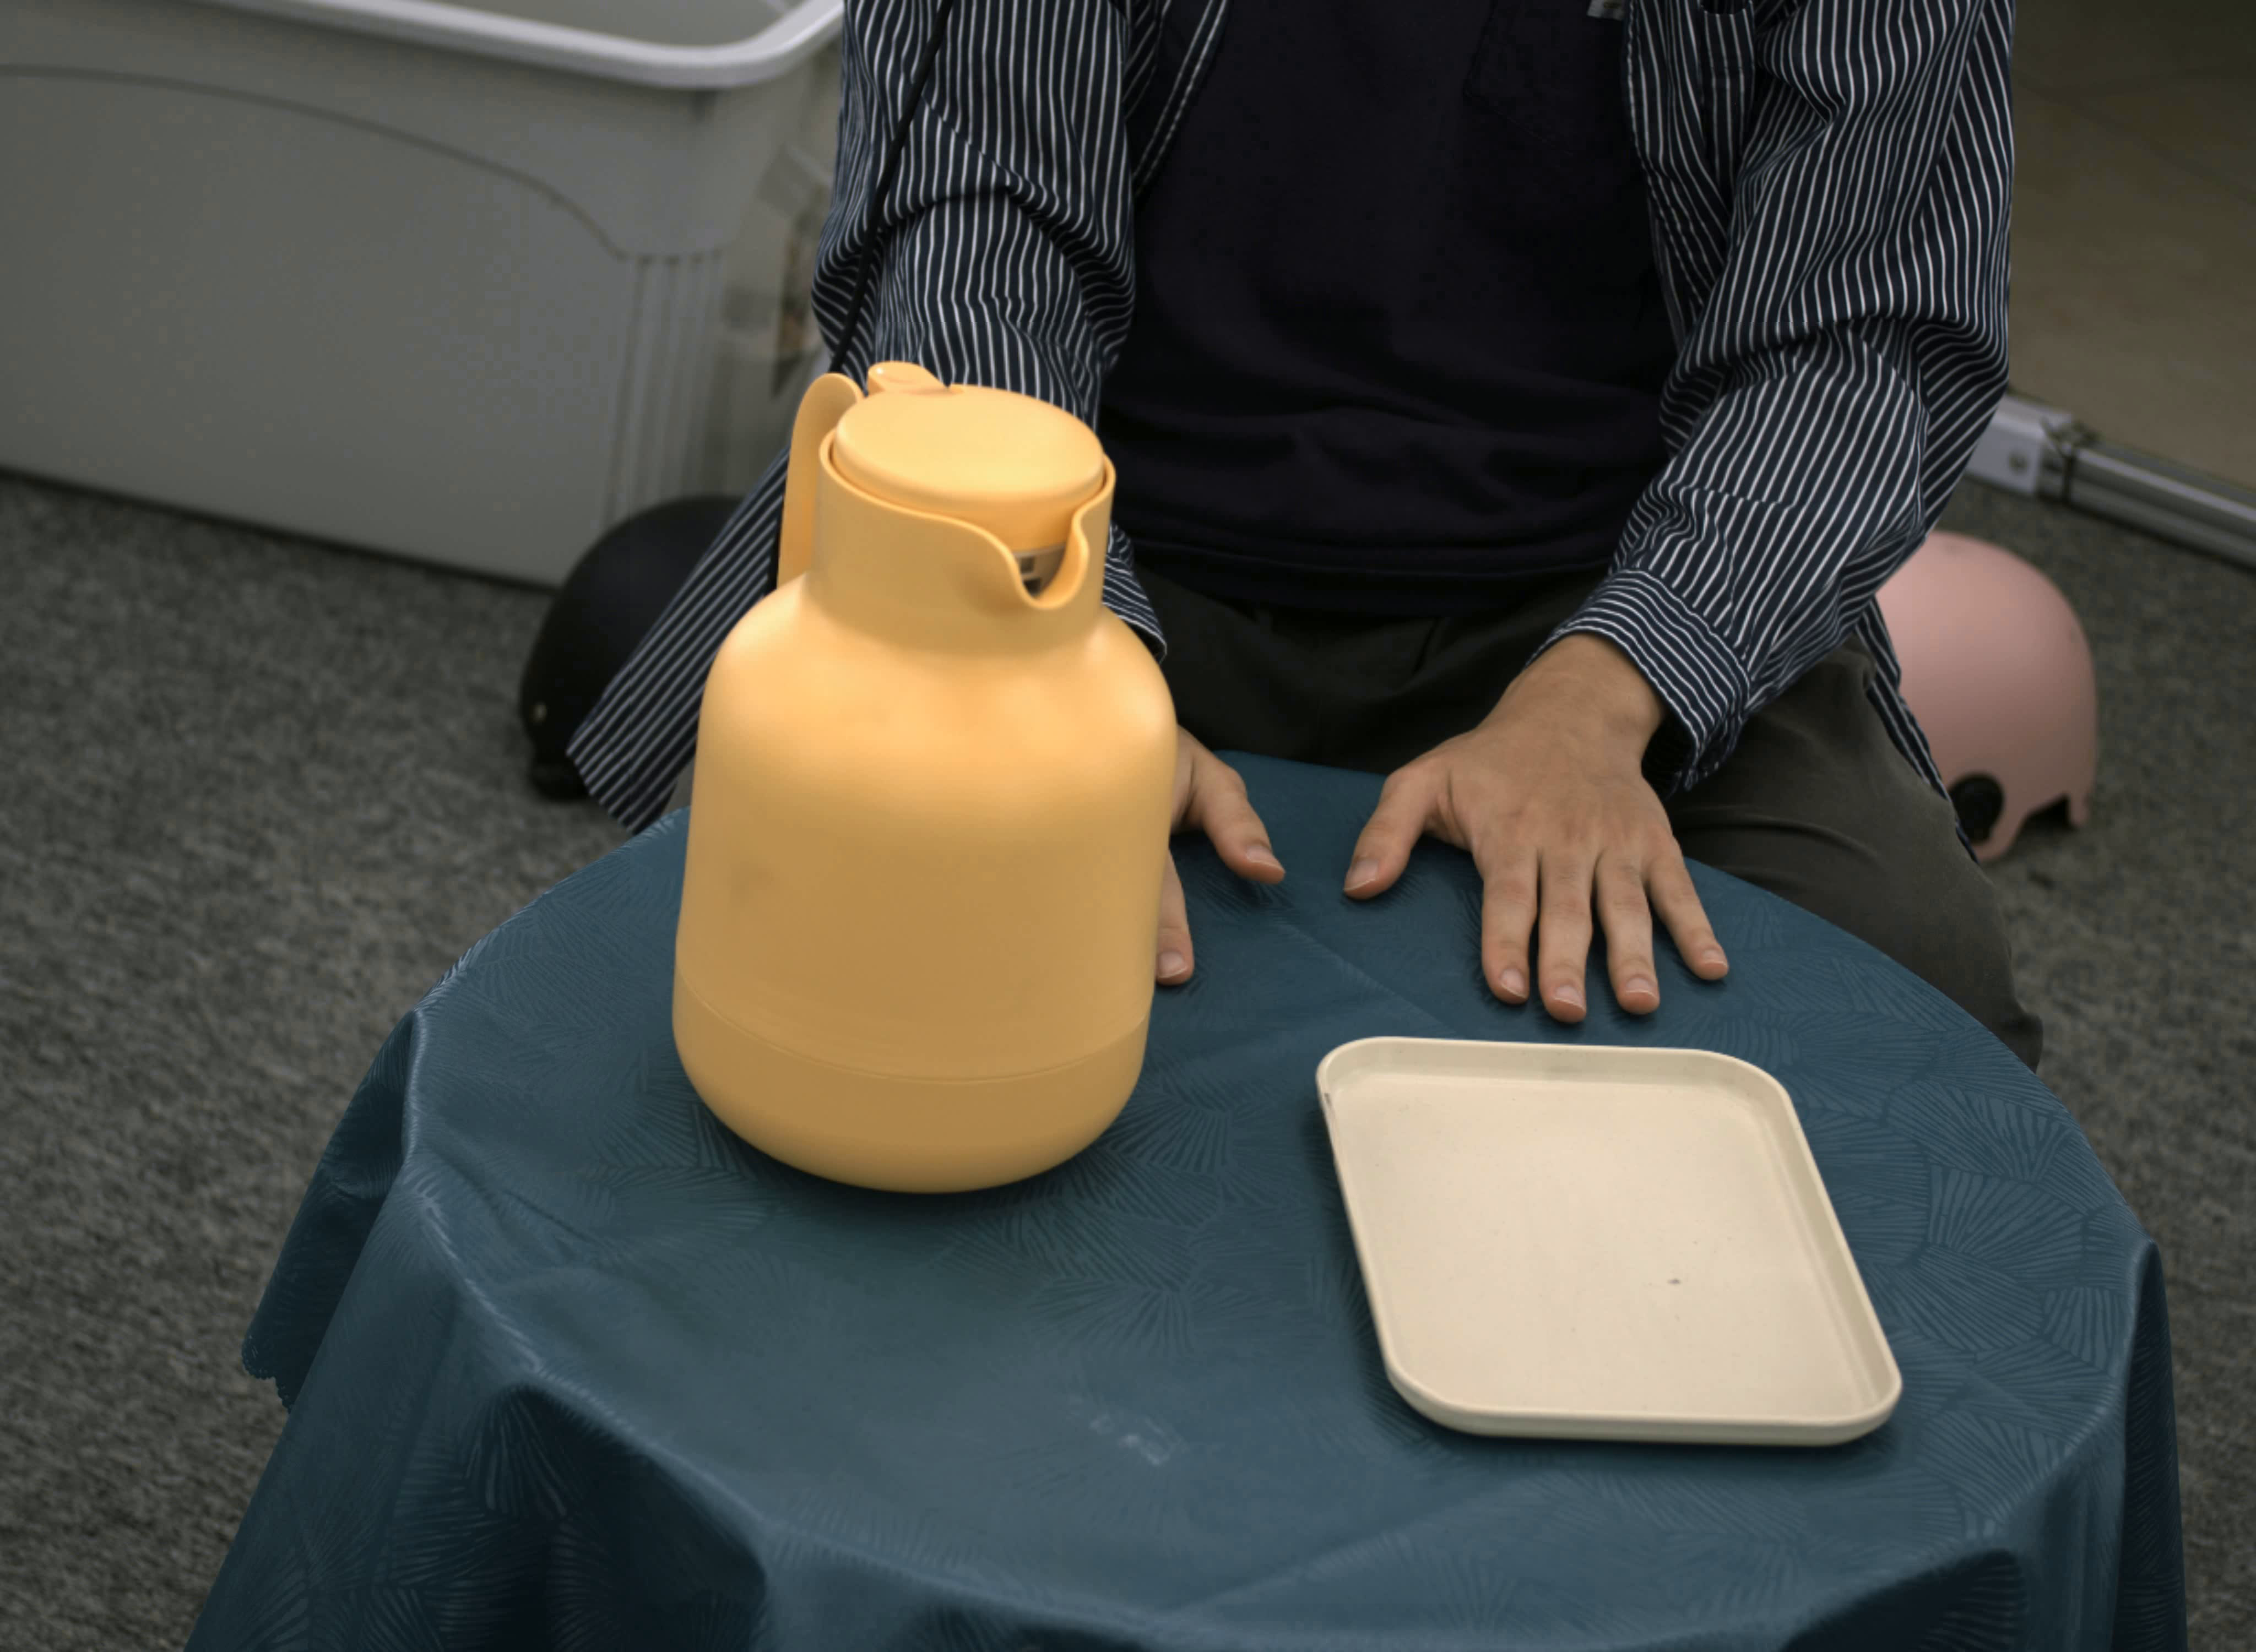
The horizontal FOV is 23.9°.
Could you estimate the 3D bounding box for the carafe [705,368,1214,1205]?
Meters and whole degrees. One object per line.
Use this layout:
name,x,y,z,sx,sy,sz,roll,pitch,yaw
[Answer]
carafe,-0.060,-0.023,1.788,0.162,0.259,0.204,-6,29,-27

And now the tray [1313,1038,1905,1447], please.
tray,0.156,0.139,1.783,0.170,0.017,0.241,3,26,-7
